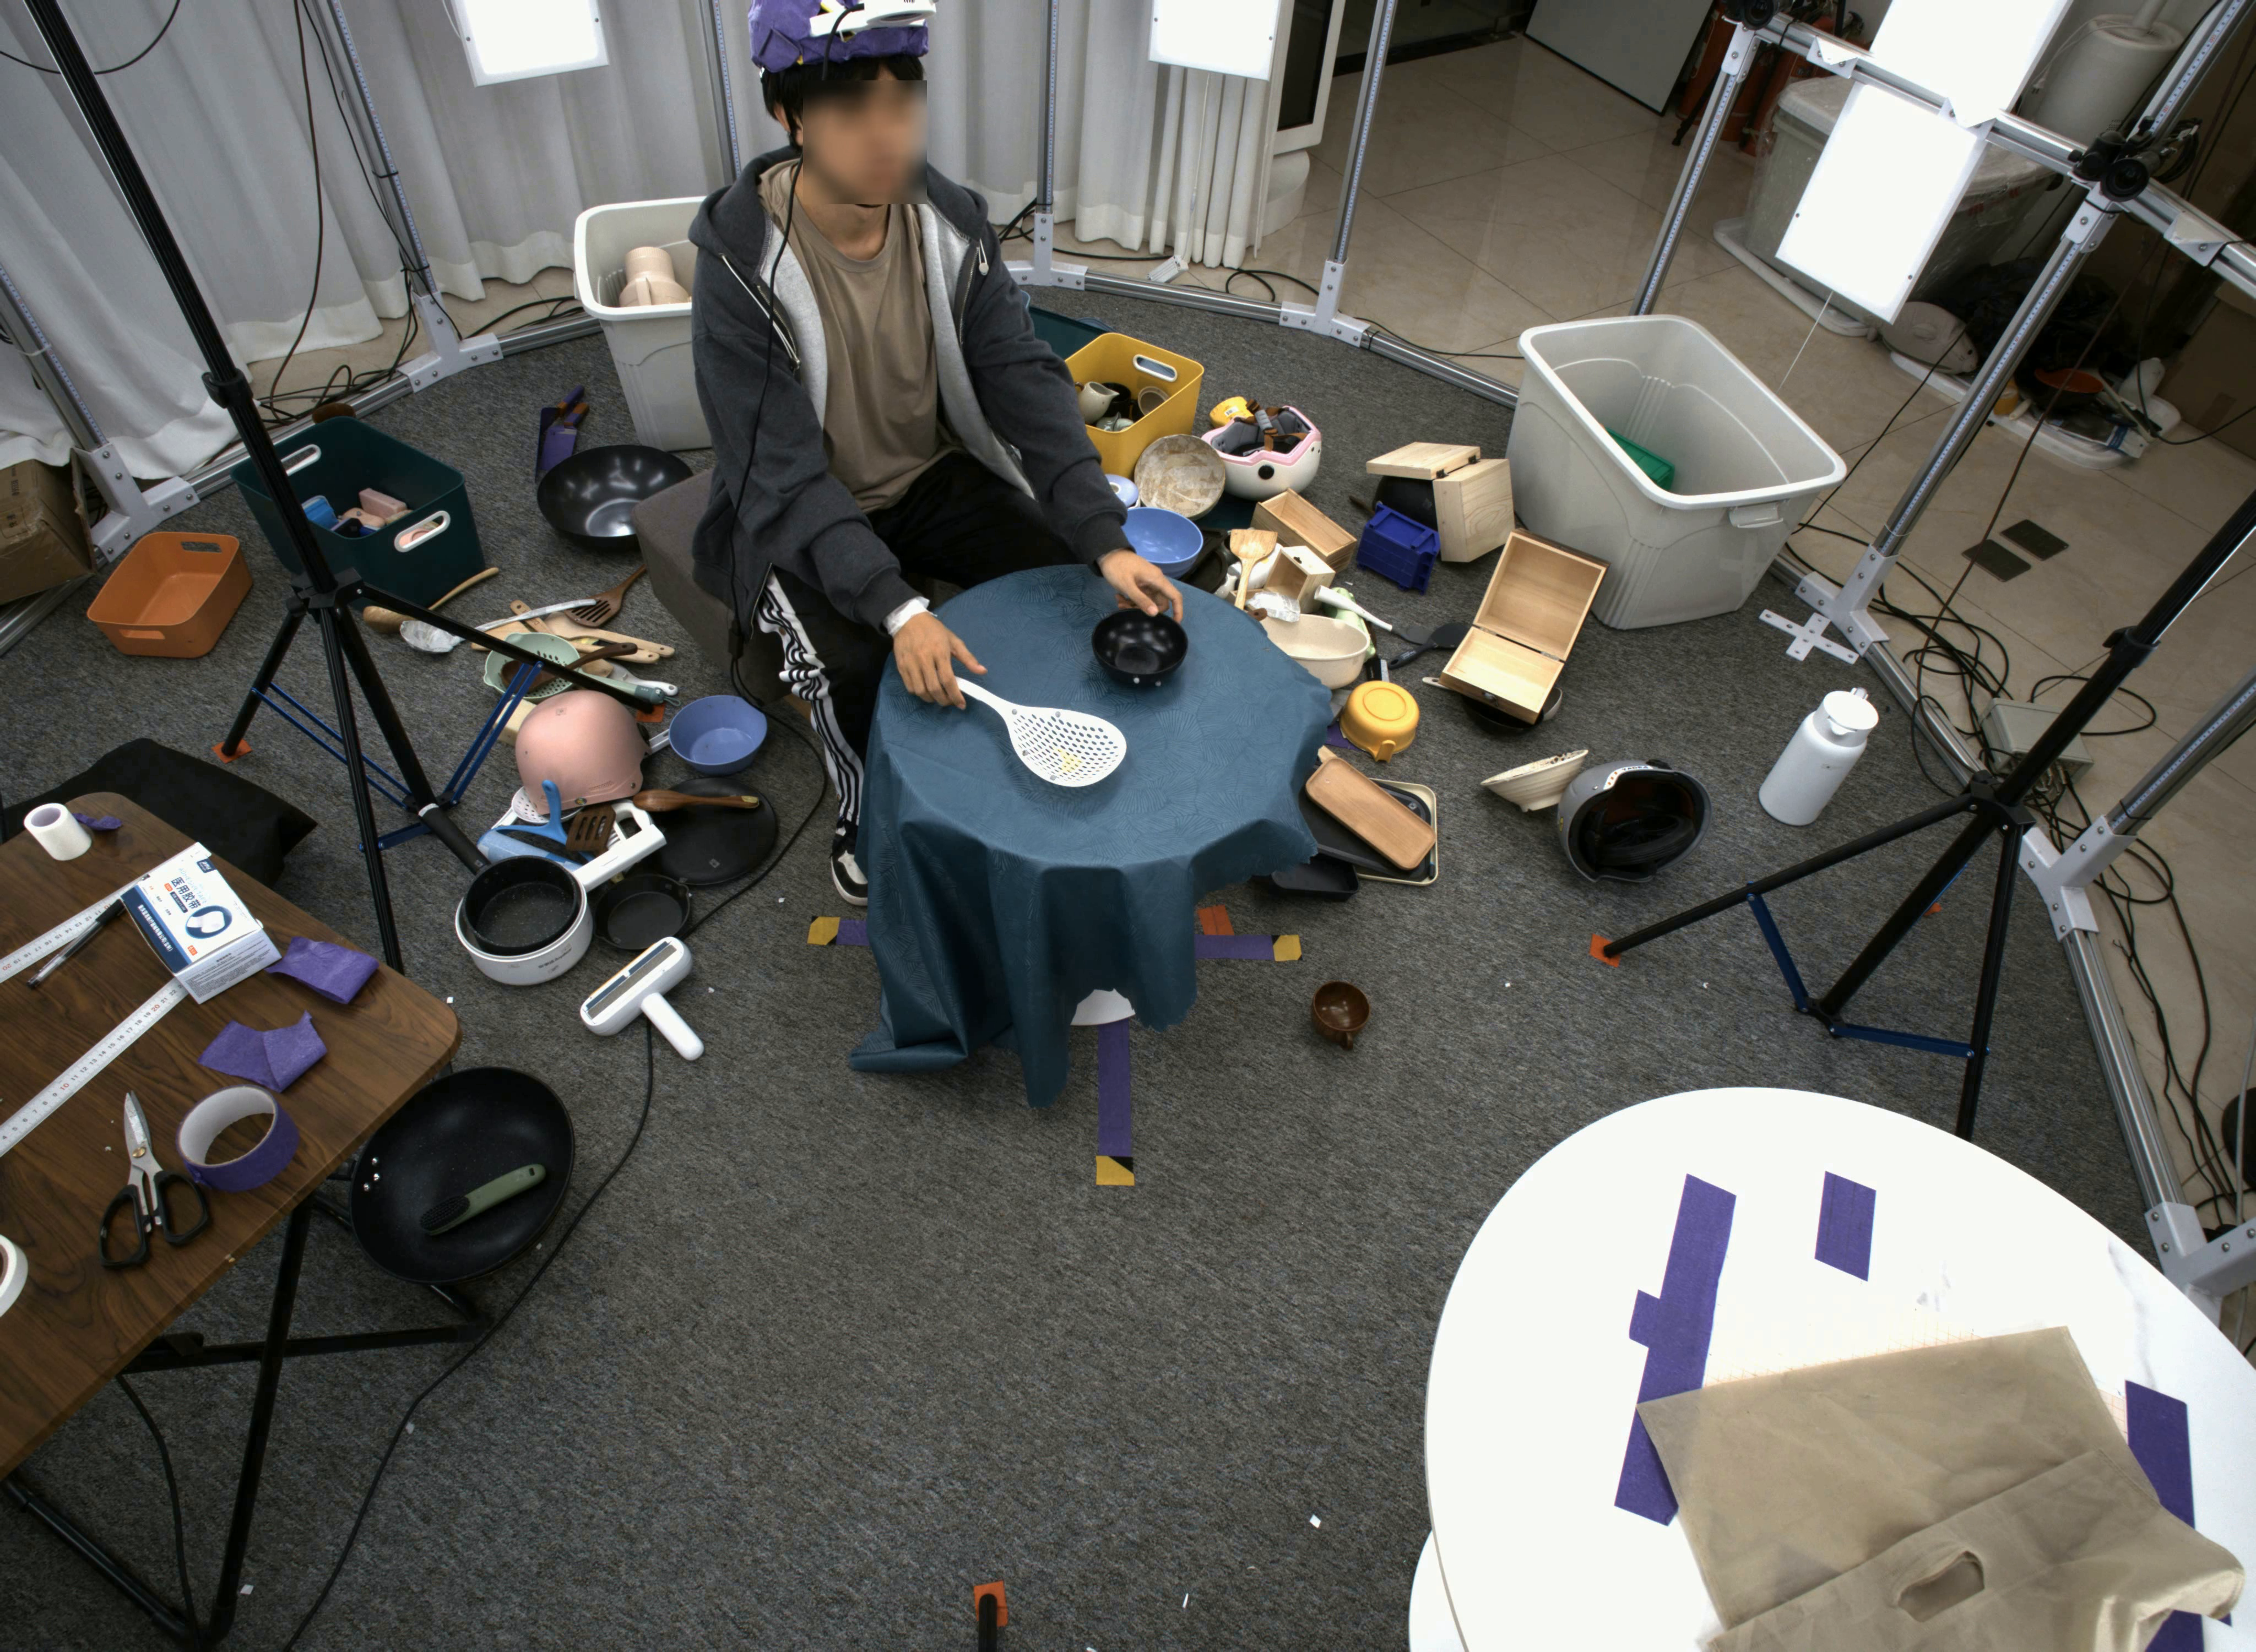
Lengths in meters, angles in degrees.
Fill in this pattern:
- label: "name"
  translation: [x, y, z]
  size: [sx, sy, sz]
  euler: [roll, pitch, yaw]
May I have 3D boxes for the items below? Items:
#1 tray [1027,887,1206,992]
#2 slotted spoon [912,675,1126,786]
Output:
- label: "tray"
  translation: [-0.019, 0.194, 2.202]
  size: [0.300, 0.027, 0.196]
  euler: [3, 49, -3]
- label: "slotted spoon"
  translation: [-0.160, -0.147, 1.757]
  size: [0.352, 0.049, 0.138]
  euler: [31, 57, 22]
